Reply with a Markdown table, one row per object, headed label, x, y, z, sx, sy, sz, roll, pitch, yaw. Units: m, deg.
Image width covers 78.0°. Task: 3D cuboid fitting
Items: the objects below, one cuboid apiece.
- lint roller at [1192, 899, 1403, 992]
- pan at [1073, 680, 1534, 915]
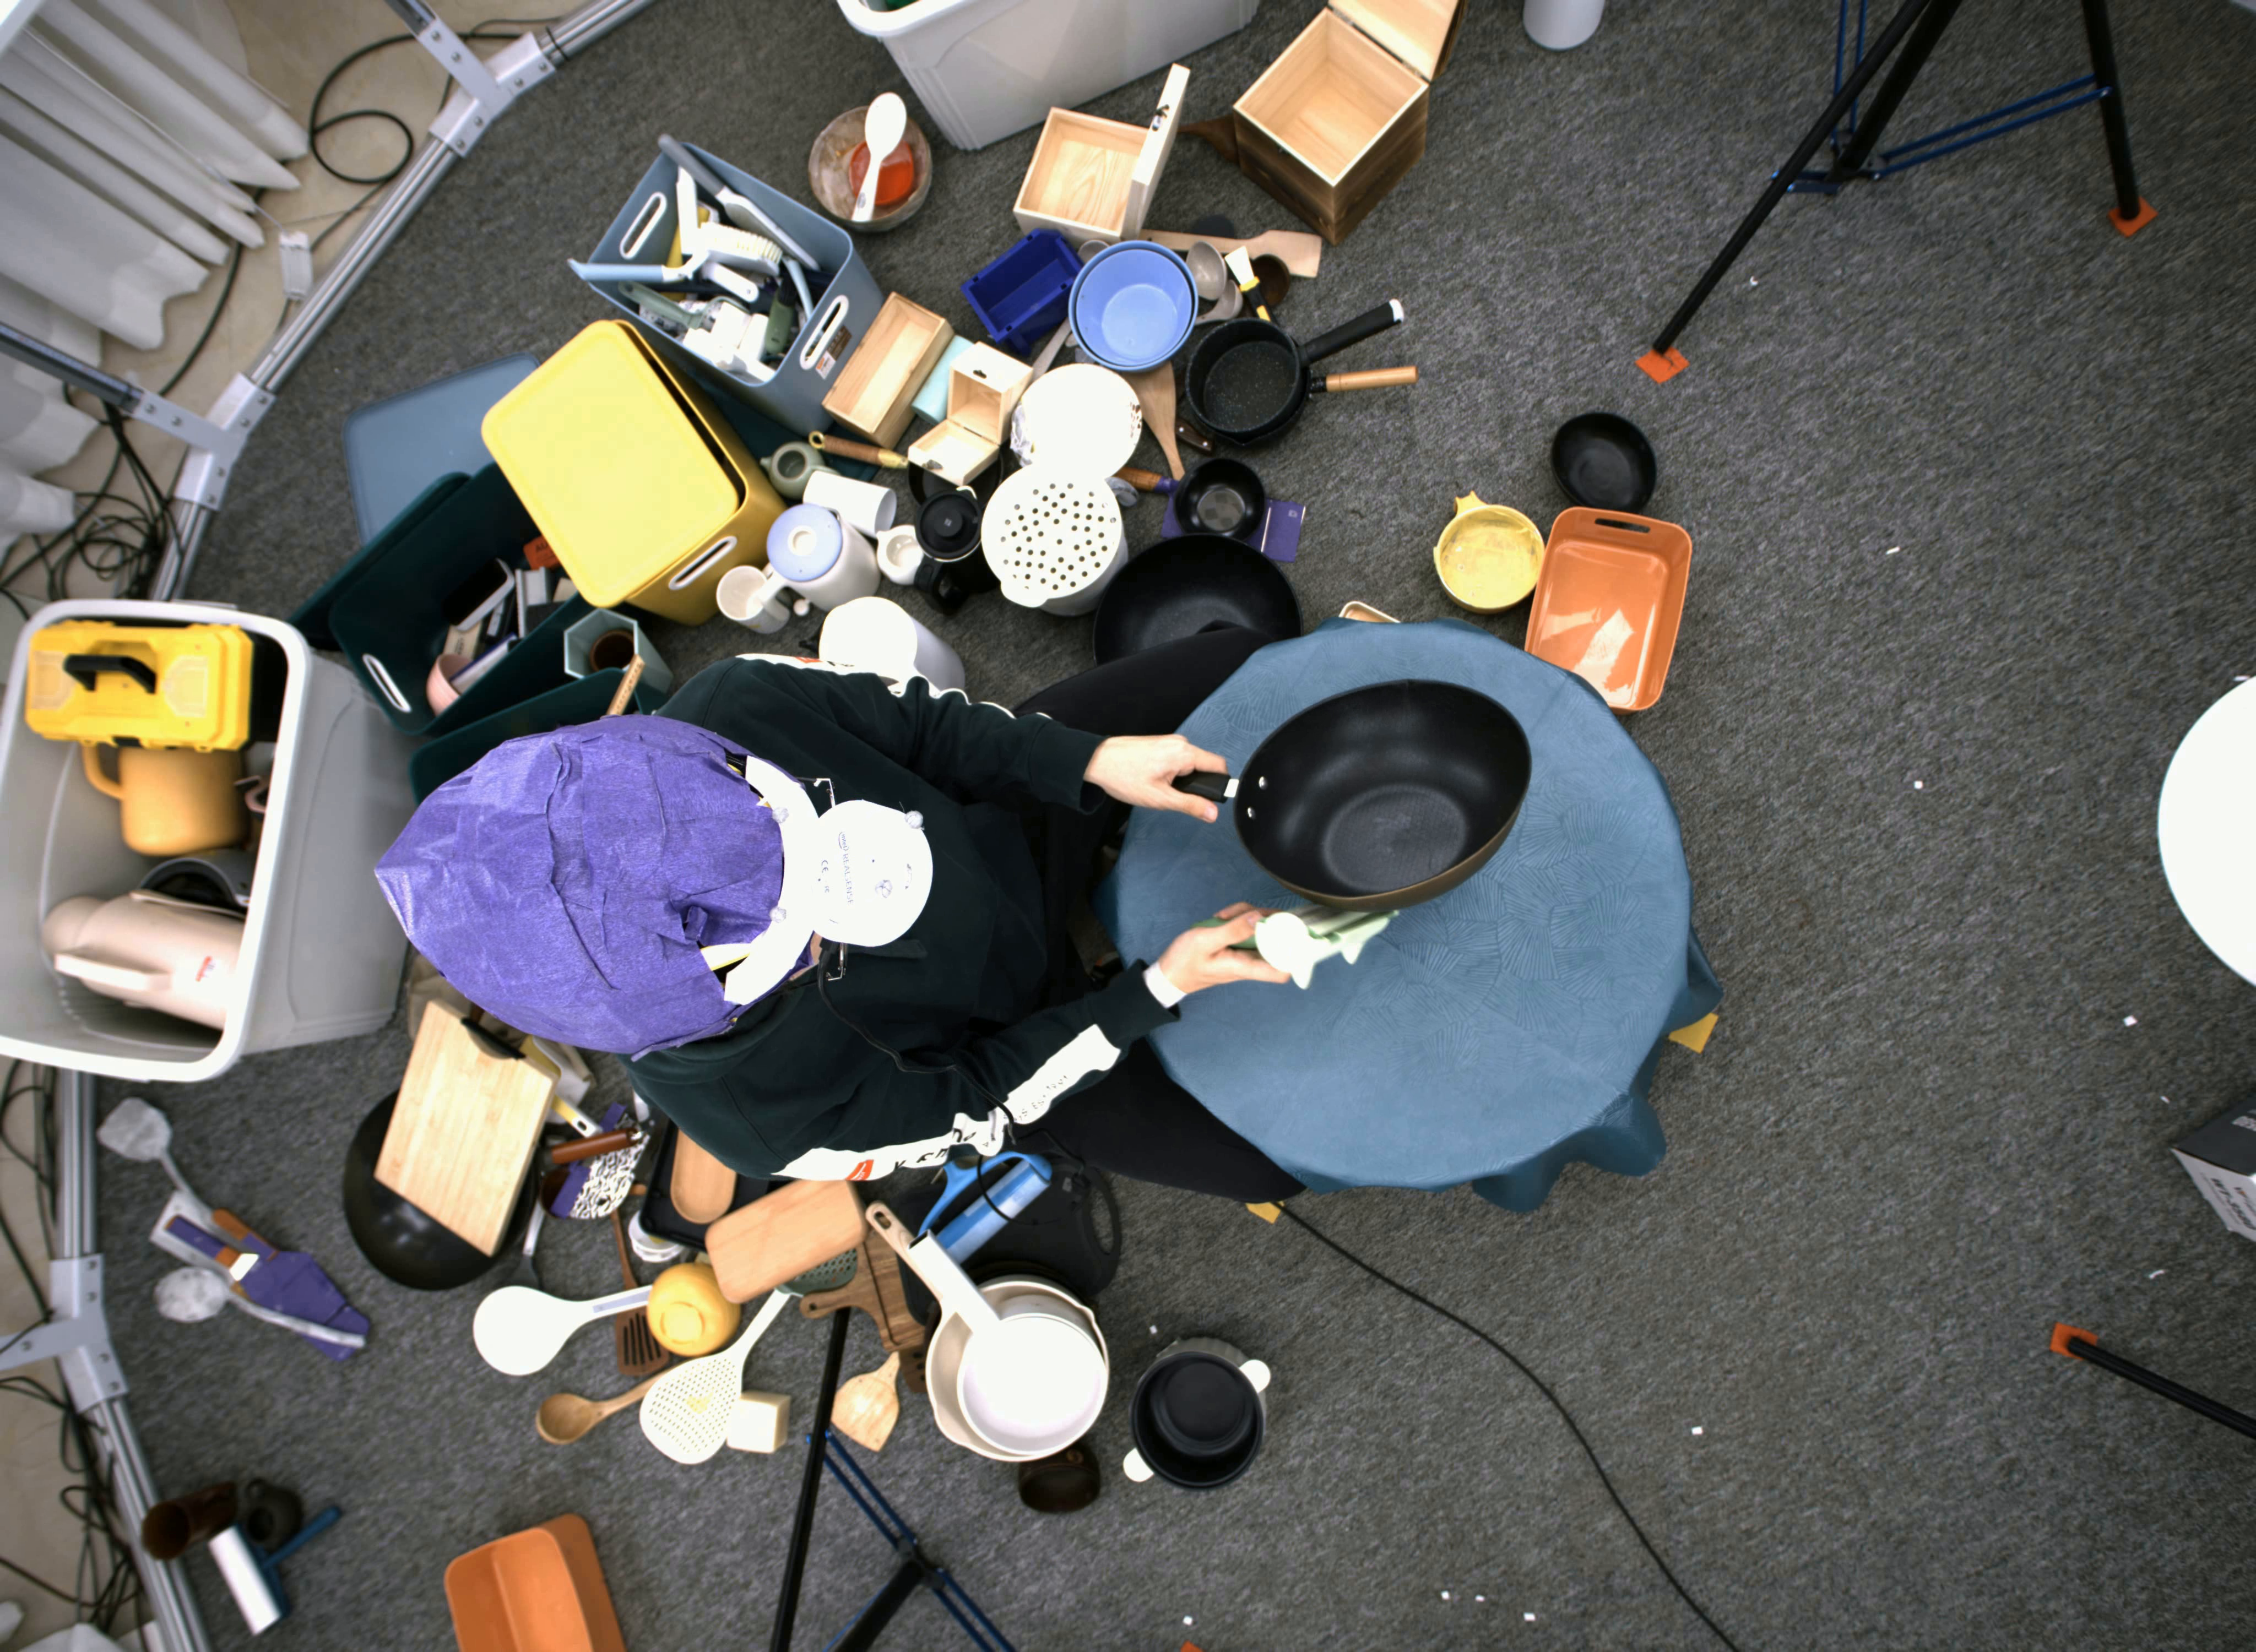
| label | x | y | z | sx | sy | sz | roll | pitch | yaw |
| --- | --- | --- | --- | --- | --- | --- | --- | --- | --- |
| lint roller | 0.147 | 0.113 | 1.324 | 0.186 | 0.196 | 0.082 | -17 | 88 | 34 |
| pan | 0.161 | -0.016 | 1.332 | 0.466 | 0.088 | 0.280 | 0 | 49 | 28 |
